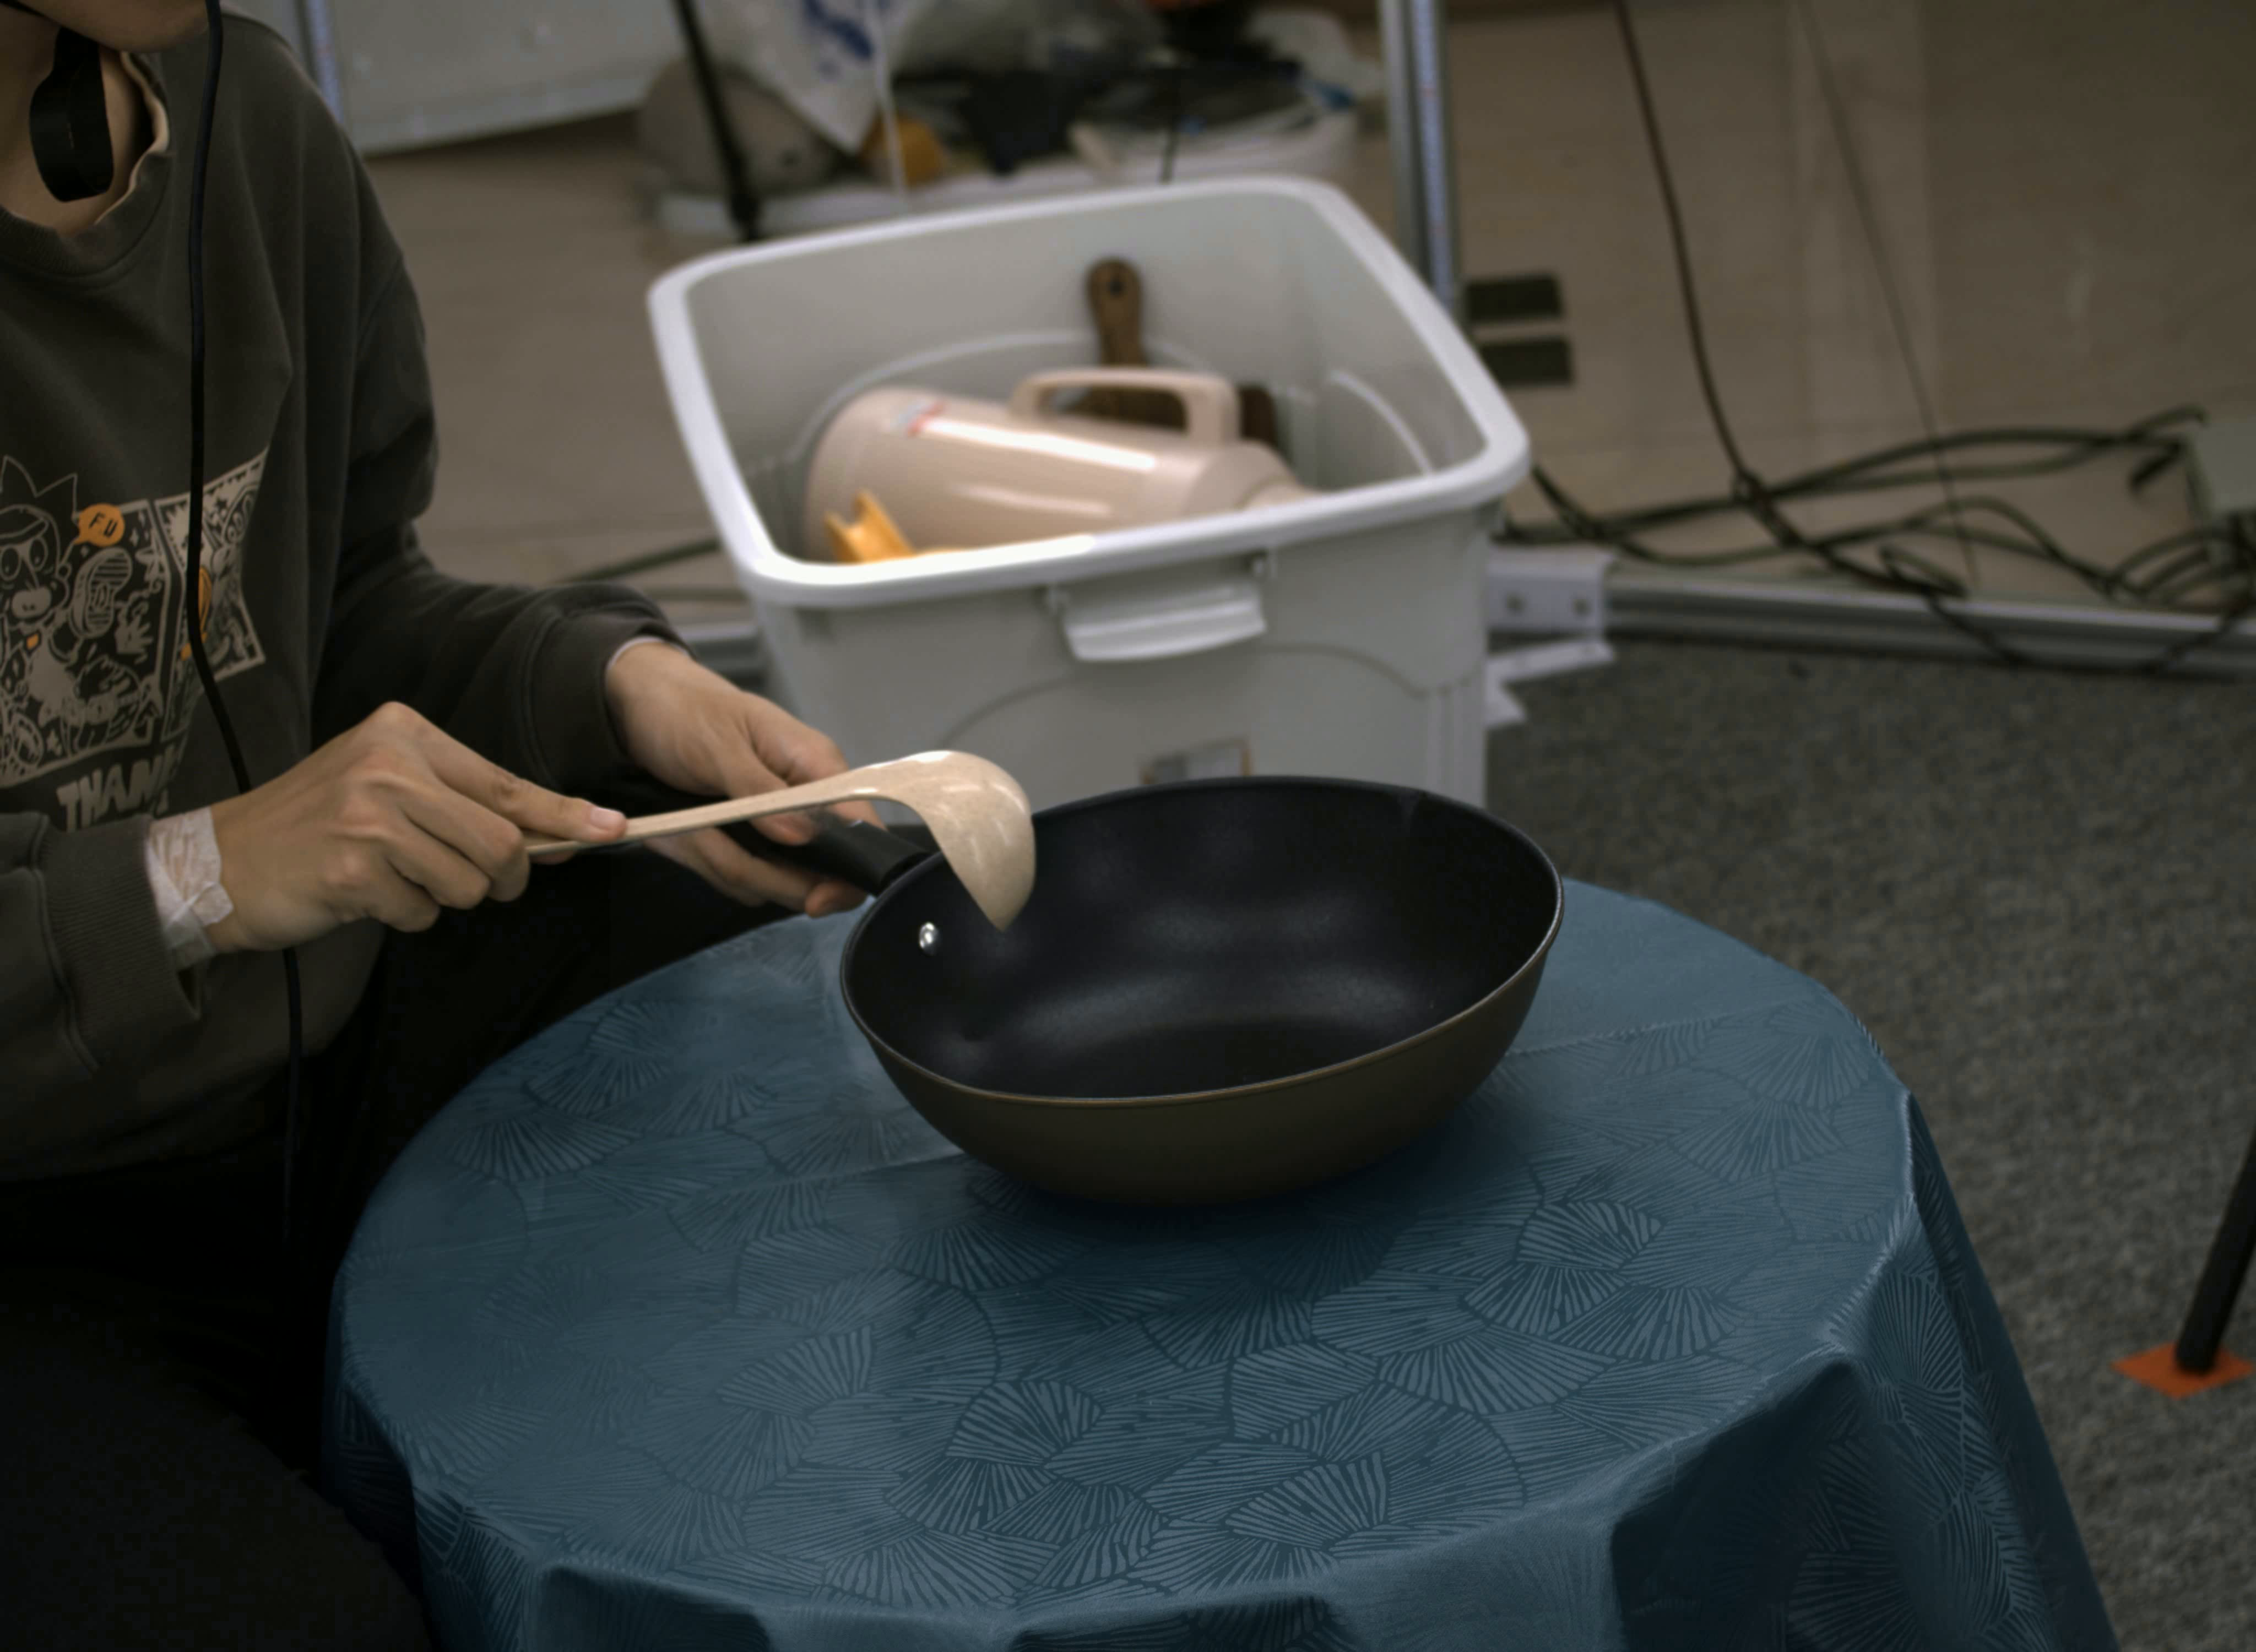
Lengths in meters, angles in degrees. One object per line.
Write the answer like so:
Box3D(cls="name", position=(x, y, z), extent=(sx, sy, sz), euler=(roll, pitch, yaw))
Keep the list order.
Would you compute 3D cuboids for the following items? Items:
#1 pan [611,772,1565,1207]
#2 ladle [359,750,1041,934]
Box3D(cls="pan", position=(-0.037, 0.057, 2.233), extent=(0.460, 0.088, 0.285), euler=(13, 32, 39))
Box3D(cls="ladle", position=(-0.159, 0.021, 2.143), extent=(0.254, 0.074, 0.071), euler=(-8, 34, -5))
